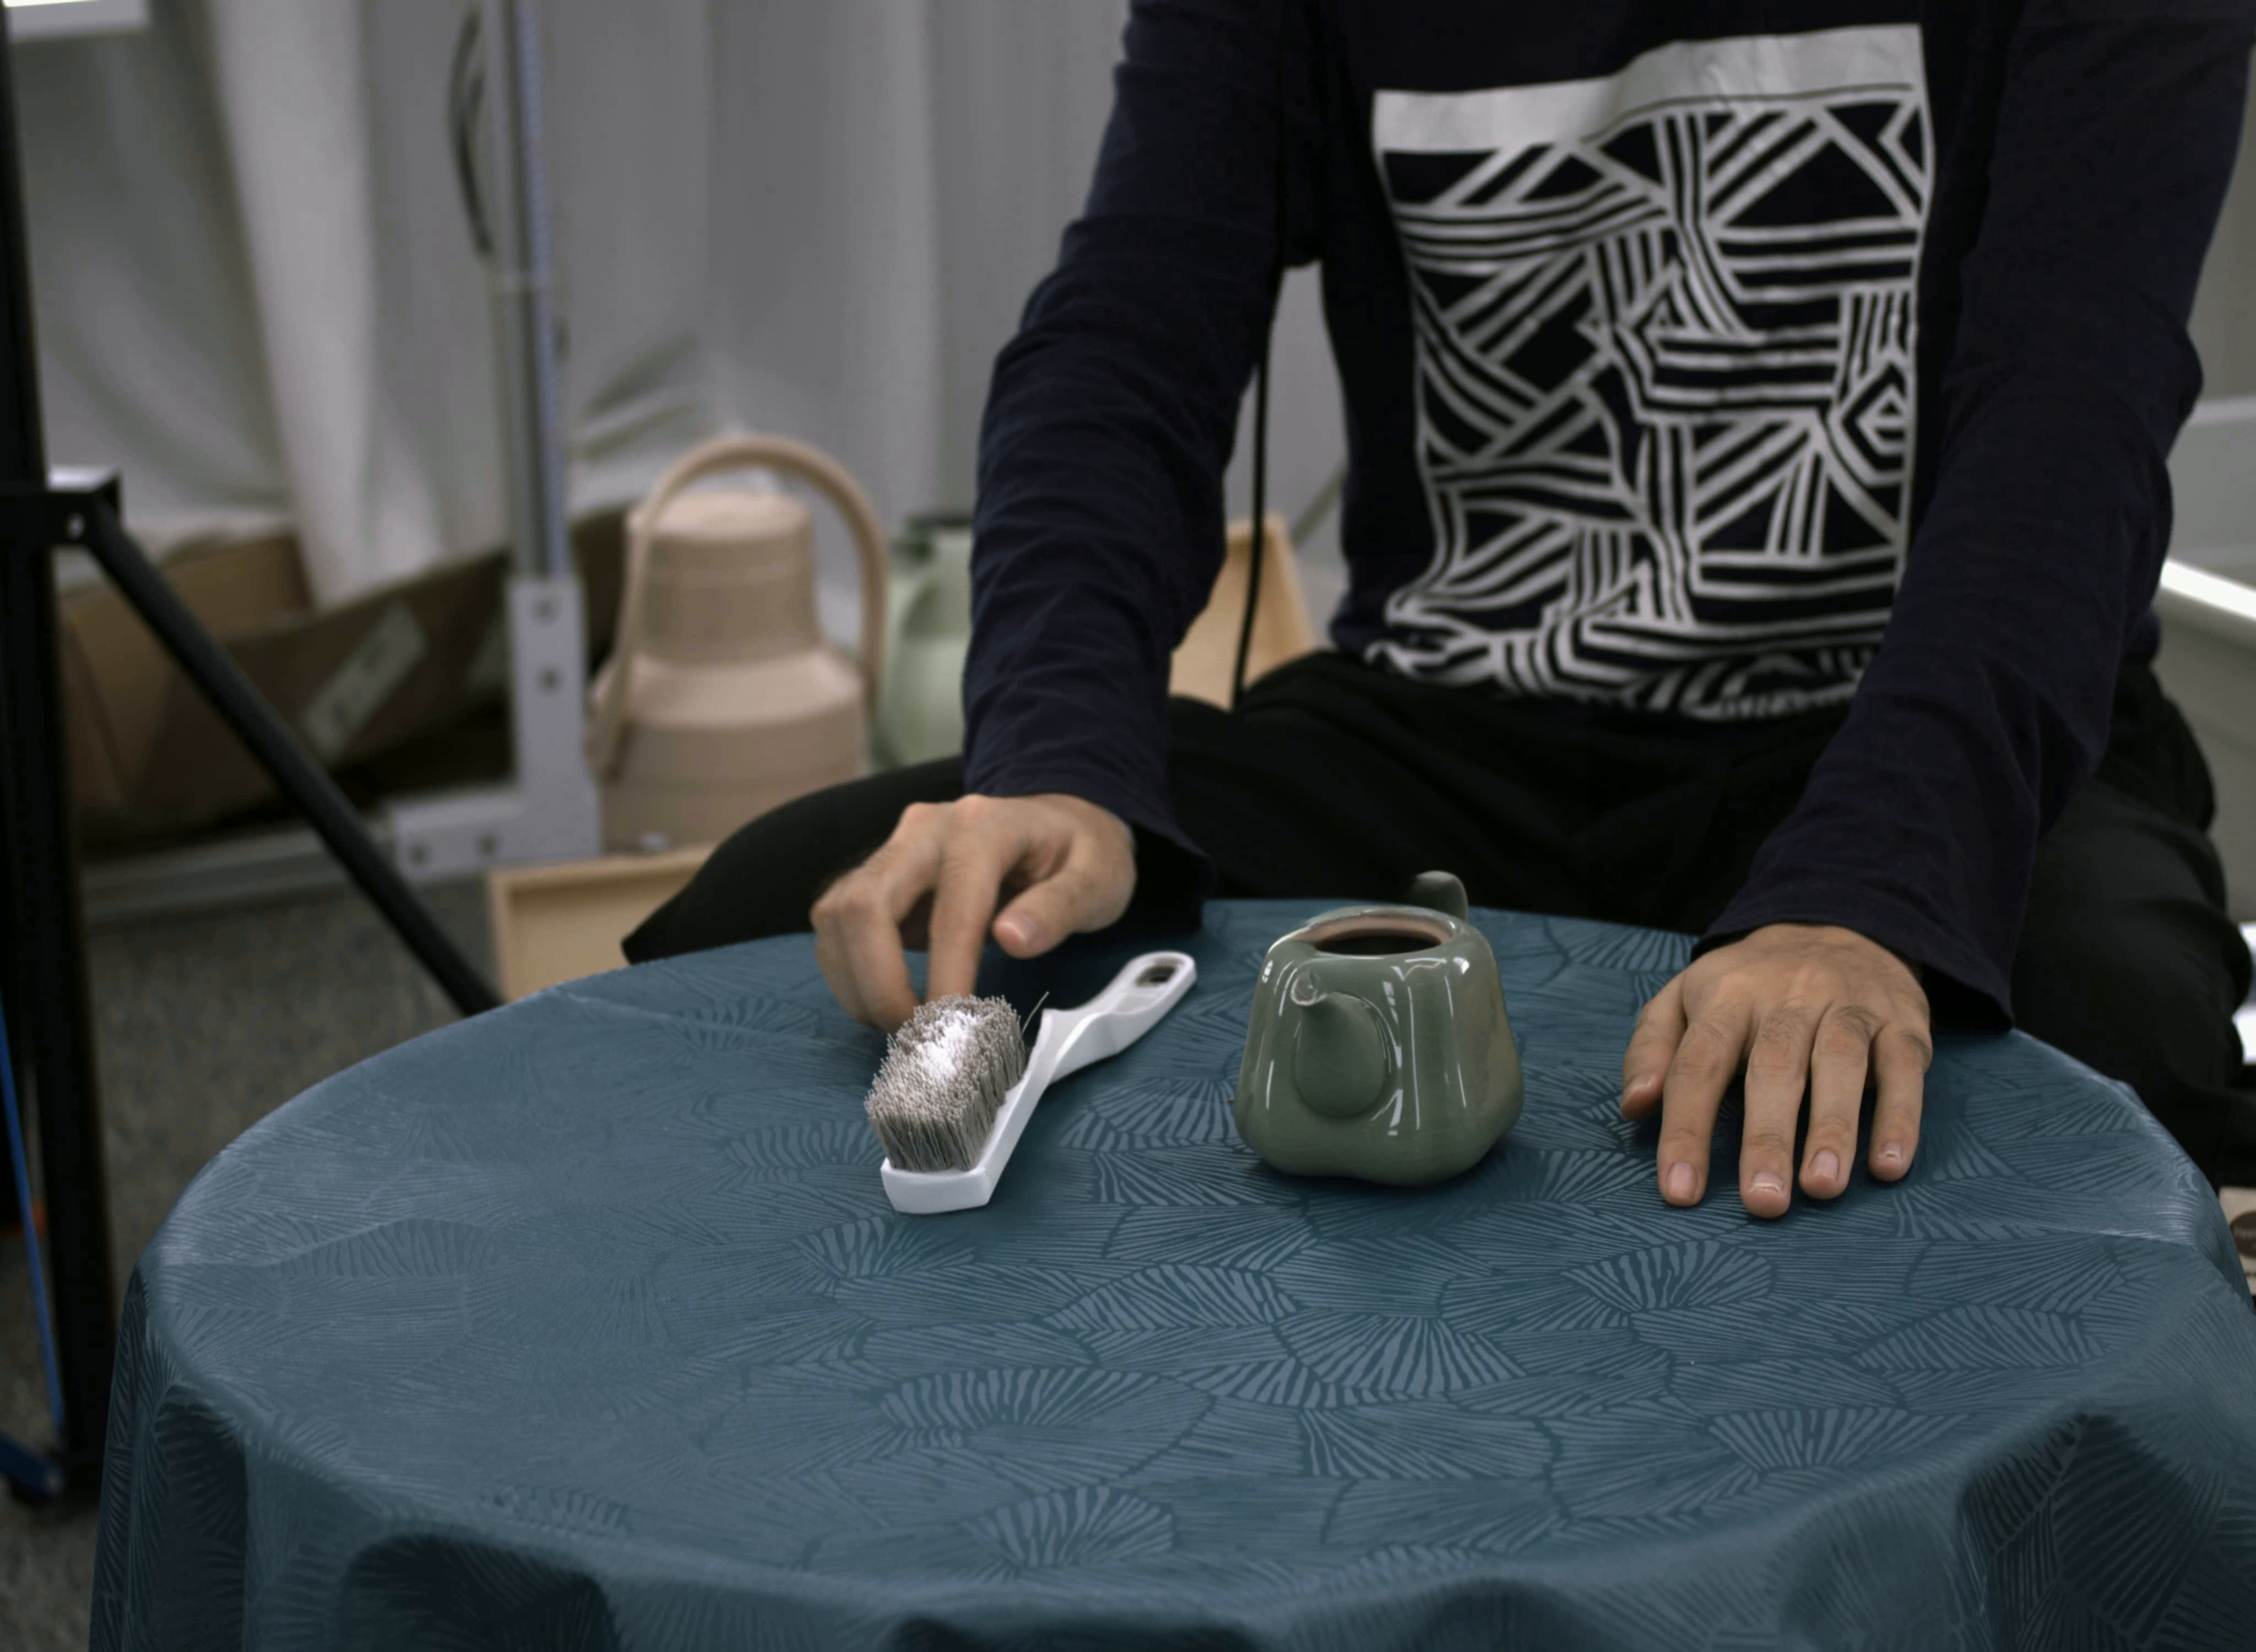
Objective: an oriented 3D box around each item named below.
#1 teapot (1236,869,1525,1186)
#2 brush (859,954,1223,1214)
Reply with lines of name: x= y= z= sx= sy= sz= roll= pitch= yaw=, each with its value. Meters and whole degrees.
teapot: x=0.075 y=0.063 z=1.574 sx=0.081 sy=0.075 sz=0.131 roll=4 pitch=16 yaw=22
brush: x=-0.022 y=0.060 z=1.645 sx=0.035 sy=0.050 sz=0.240 roll=-3 pitch=15 yaw=23
